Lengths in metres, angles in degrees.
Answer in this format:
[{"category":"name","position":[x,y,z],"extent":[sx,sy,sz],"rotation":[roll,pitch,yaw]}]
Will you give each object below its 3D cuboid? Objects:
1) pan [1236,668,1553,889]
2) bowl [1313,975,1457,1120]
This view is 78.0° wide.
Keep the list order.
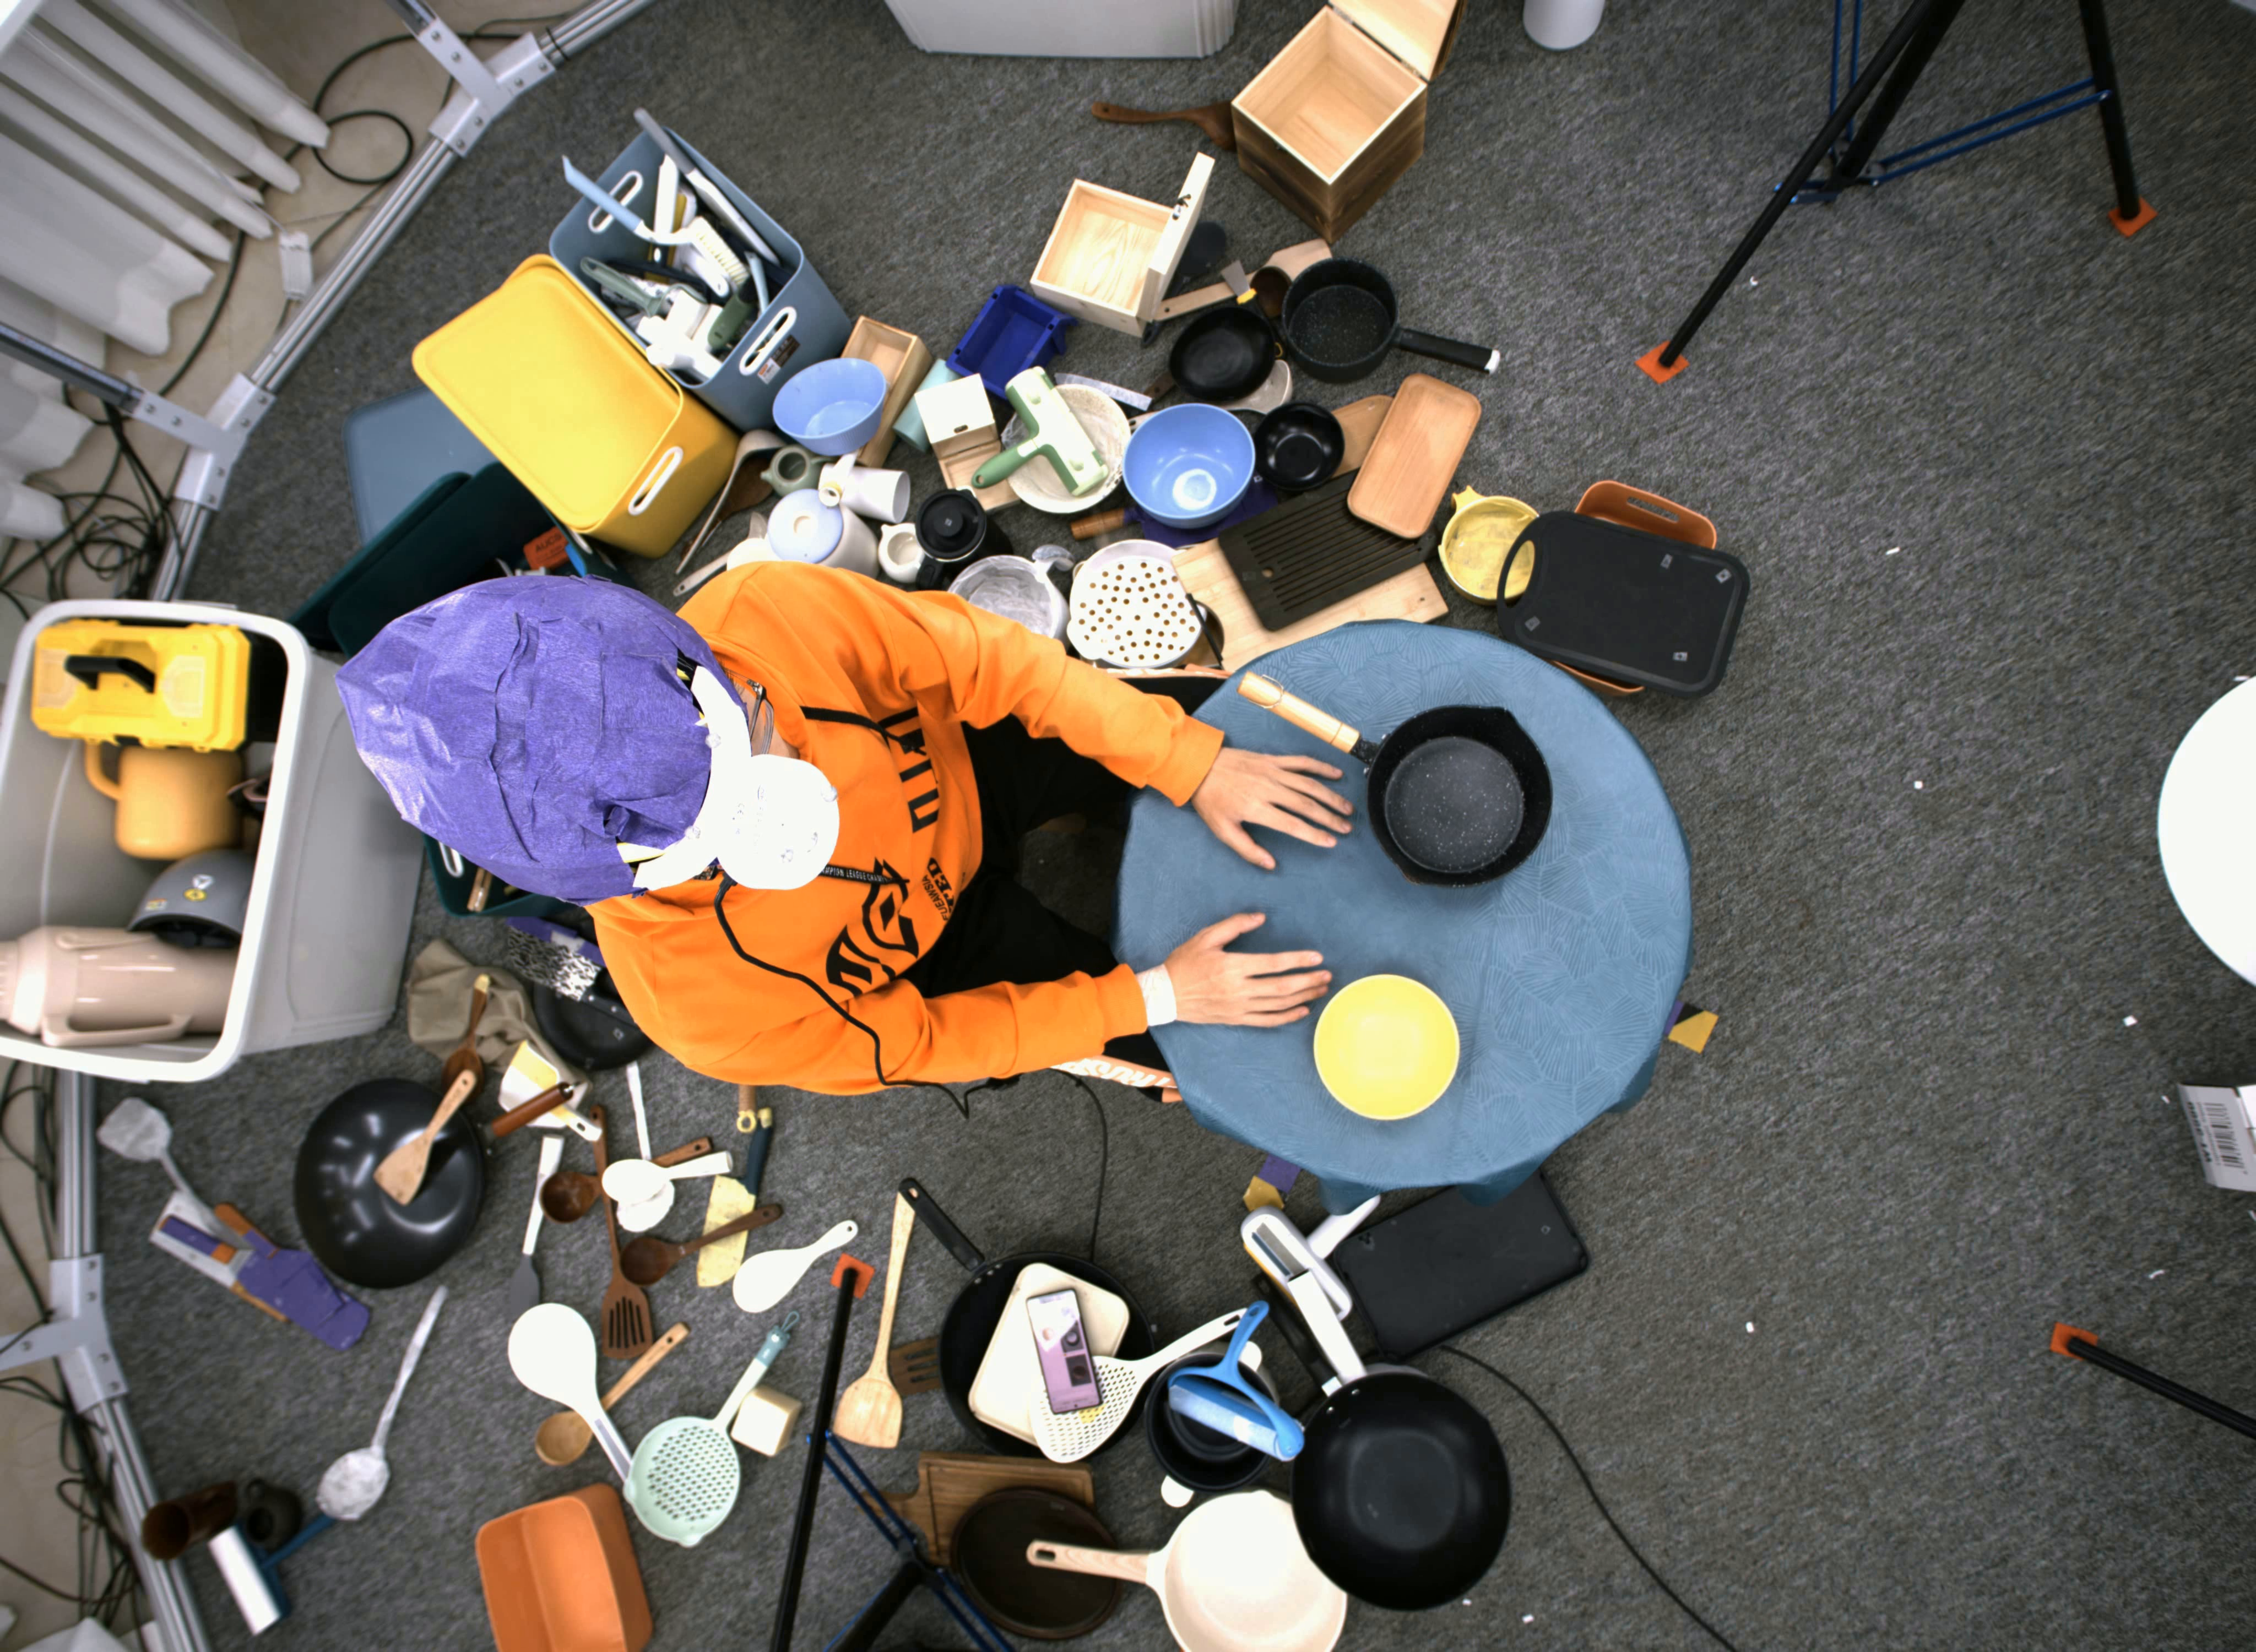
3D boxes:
[{"category":"pan","position":[0.265,-0.066,1.414],"extent":[0.342,0.108,0.208],"rotation":[28,93,9]},{"category":"bowl","position":[0.264,0.225,1.423],"extent":[0.146,0.060,0.144],"rotation":[-1,85,10]}]
